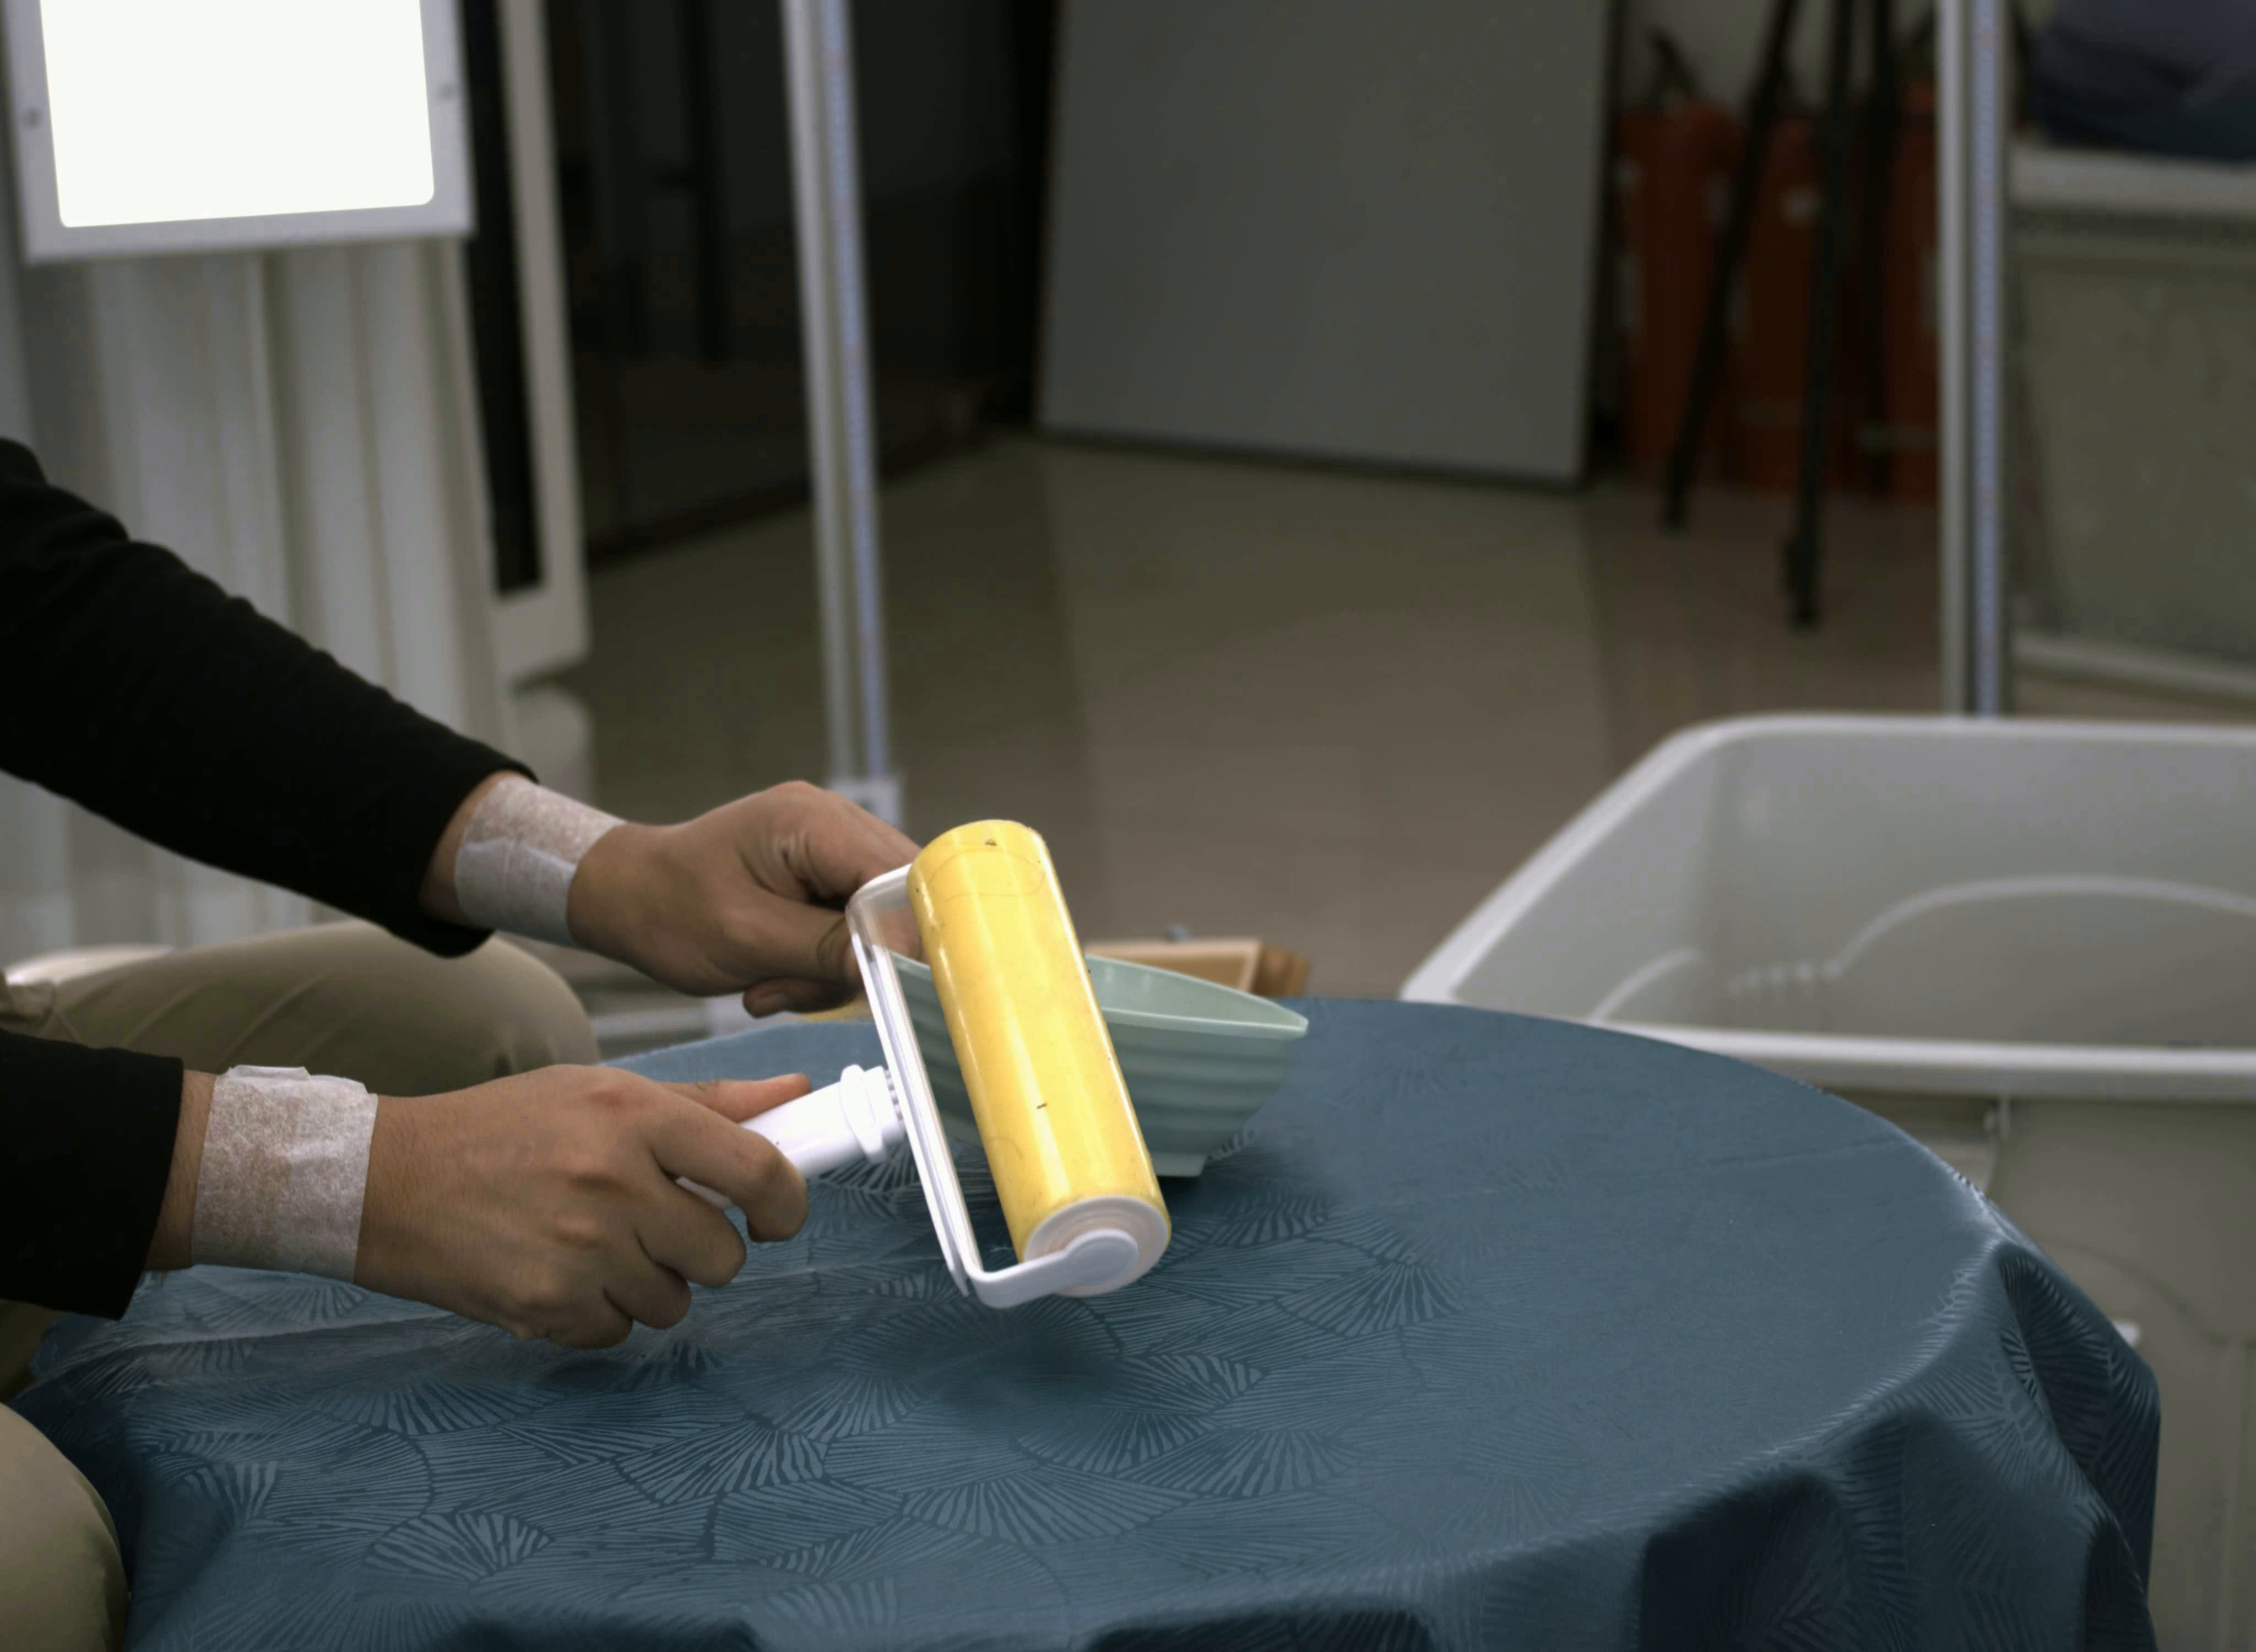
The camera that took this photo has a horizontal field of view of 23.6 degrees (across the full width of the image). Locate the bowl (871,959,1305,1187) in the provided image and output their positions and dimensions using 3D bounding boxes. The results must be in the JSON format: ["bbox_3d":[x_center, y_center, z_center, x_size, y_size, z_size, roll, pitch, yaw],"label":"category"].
[{"bbox_3d":[-0.019,0.080,1.780,0.149,0.059,0.151,11,3,-2],"label":"bowl"}]

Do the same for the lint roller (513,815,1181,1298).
[{"bbox_3d":[-0.096,0.087,1.637,0.189,0.051,0.176,-14,45,-8],"label":"lint roller"}]
